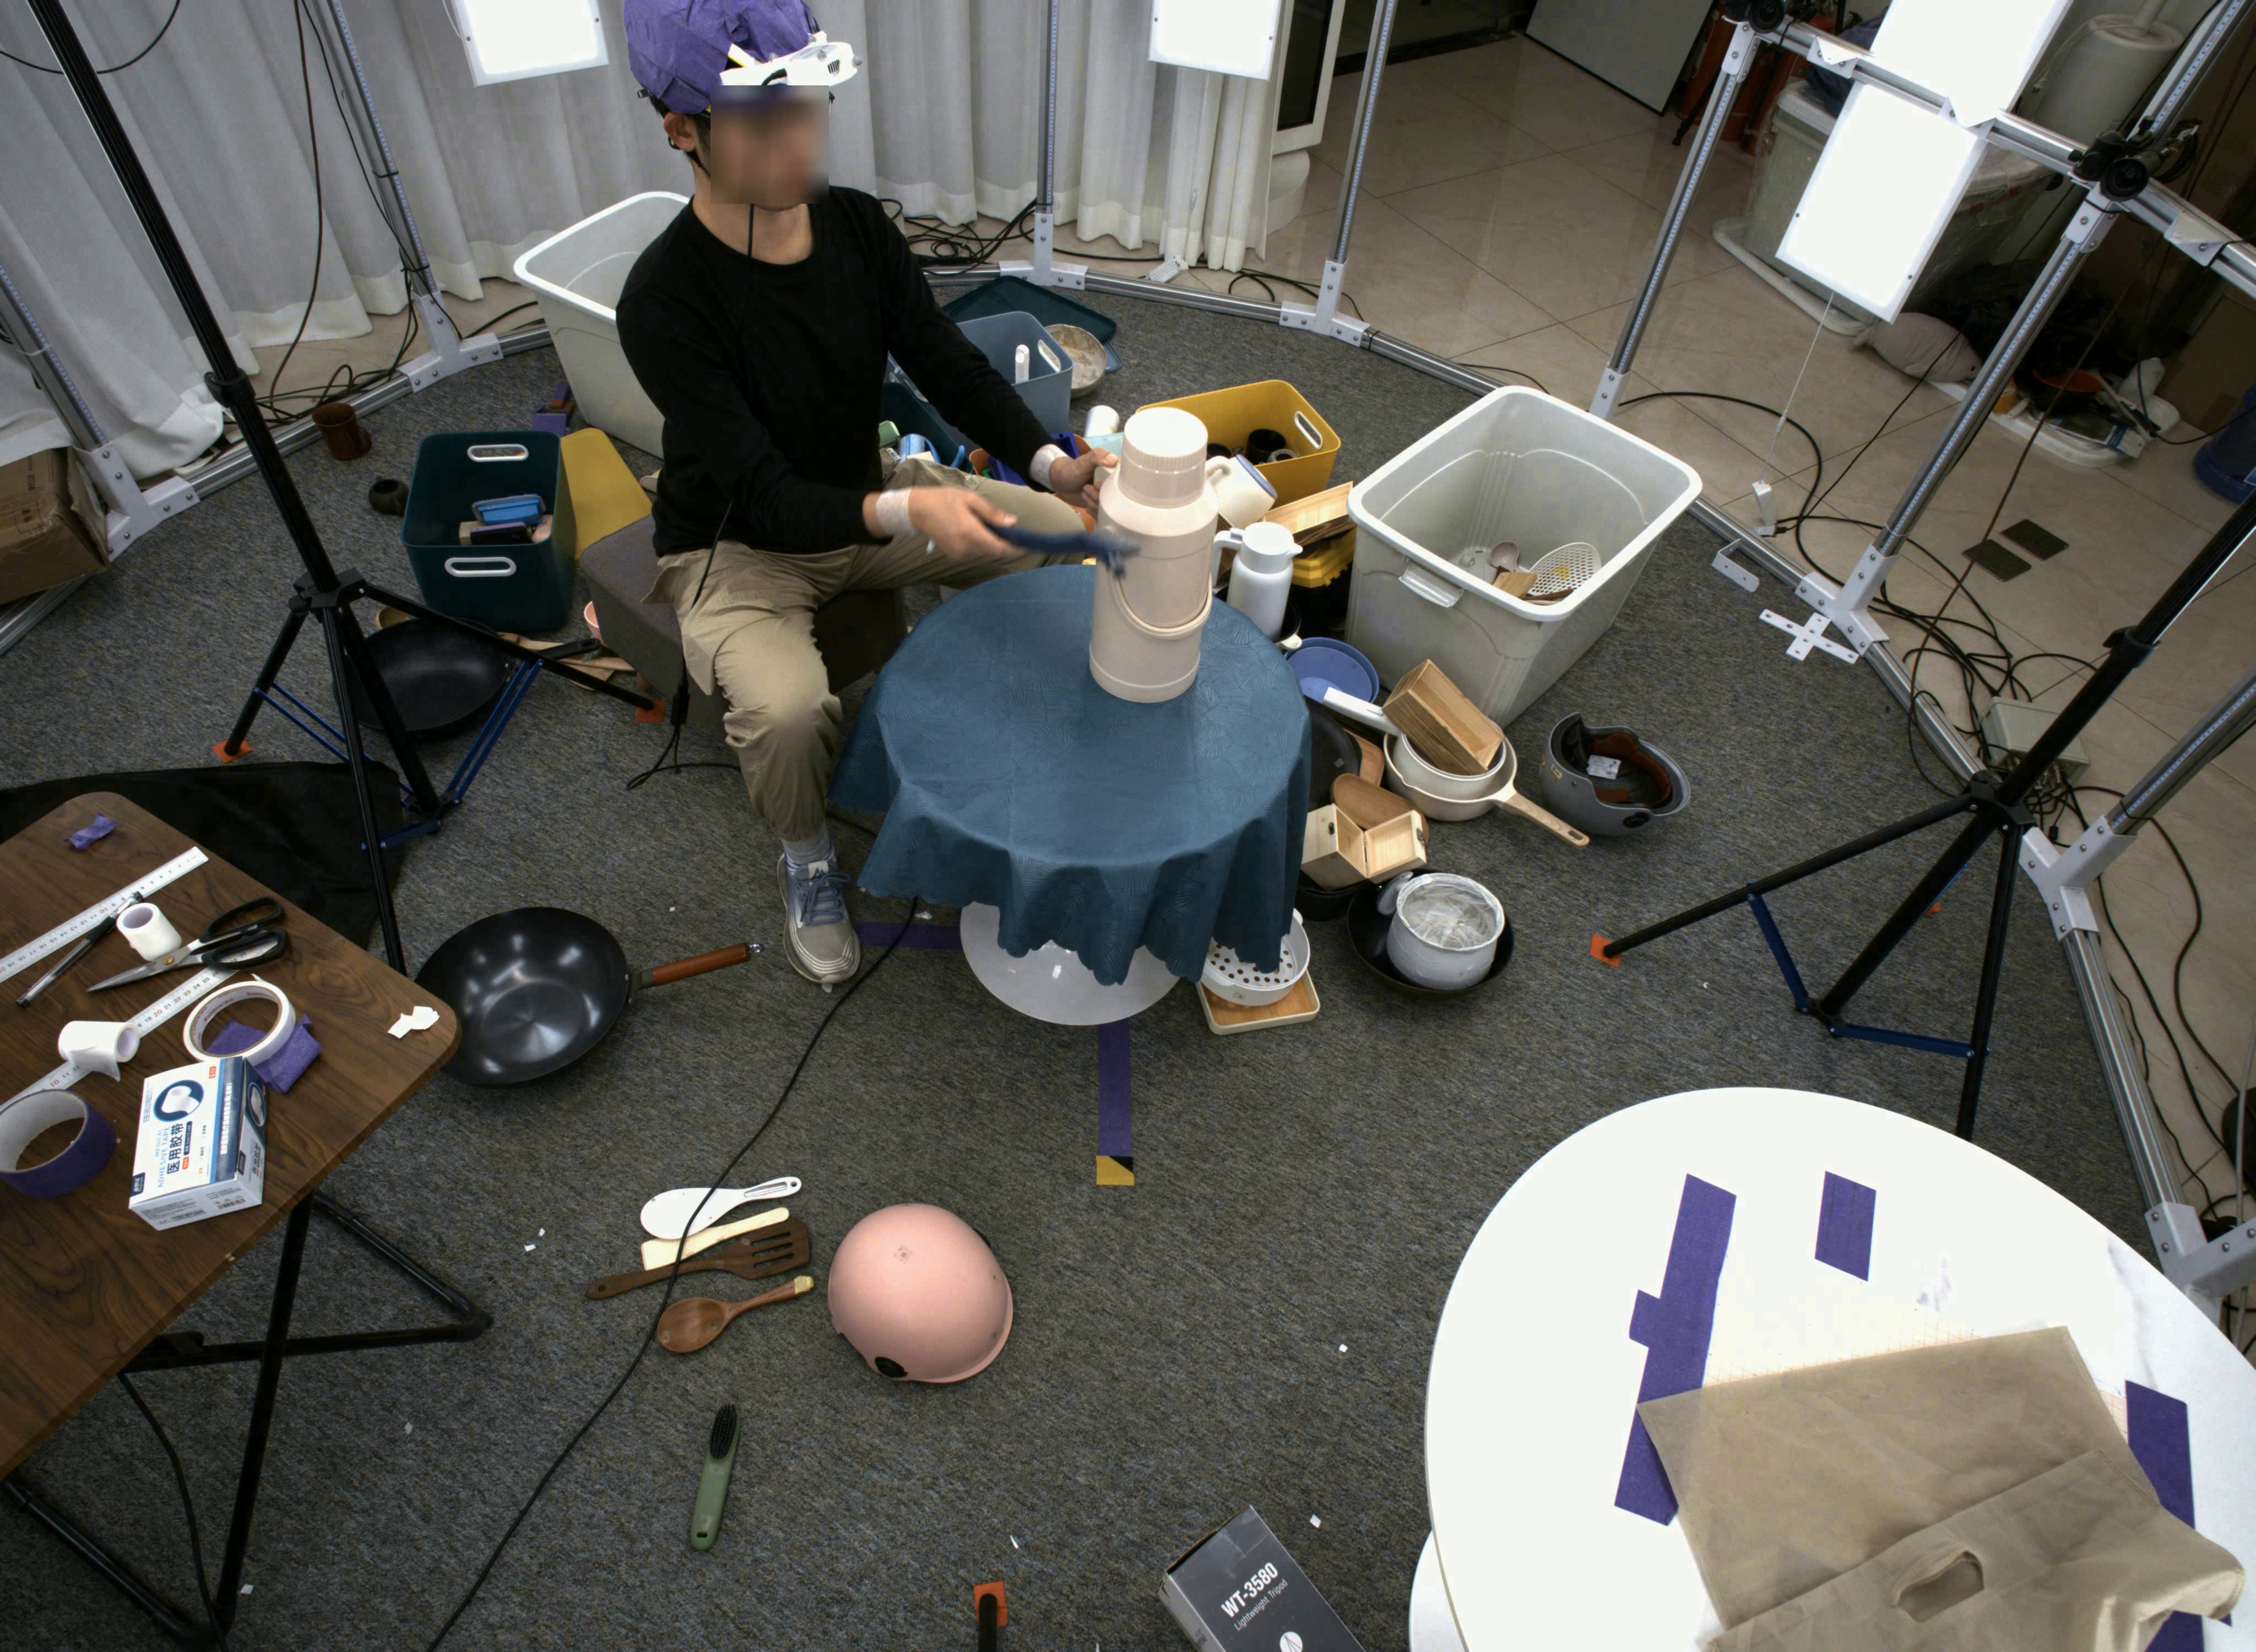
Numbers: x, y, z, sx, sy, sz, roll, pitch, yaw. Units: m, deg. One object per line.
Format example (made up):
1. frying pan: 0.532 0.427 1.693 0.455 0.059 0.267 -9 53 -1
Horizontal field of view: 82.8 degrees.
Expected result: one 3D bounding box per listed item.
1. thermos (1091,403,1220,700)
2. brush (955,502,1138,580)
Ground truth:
1. thermos: 0.027 -0.372 1.739 0.176 0.396 0.210 -32 59 -26
2. brush: -0.114 -0.360 1.607 0.275 0.033 0.097 14 47 26
